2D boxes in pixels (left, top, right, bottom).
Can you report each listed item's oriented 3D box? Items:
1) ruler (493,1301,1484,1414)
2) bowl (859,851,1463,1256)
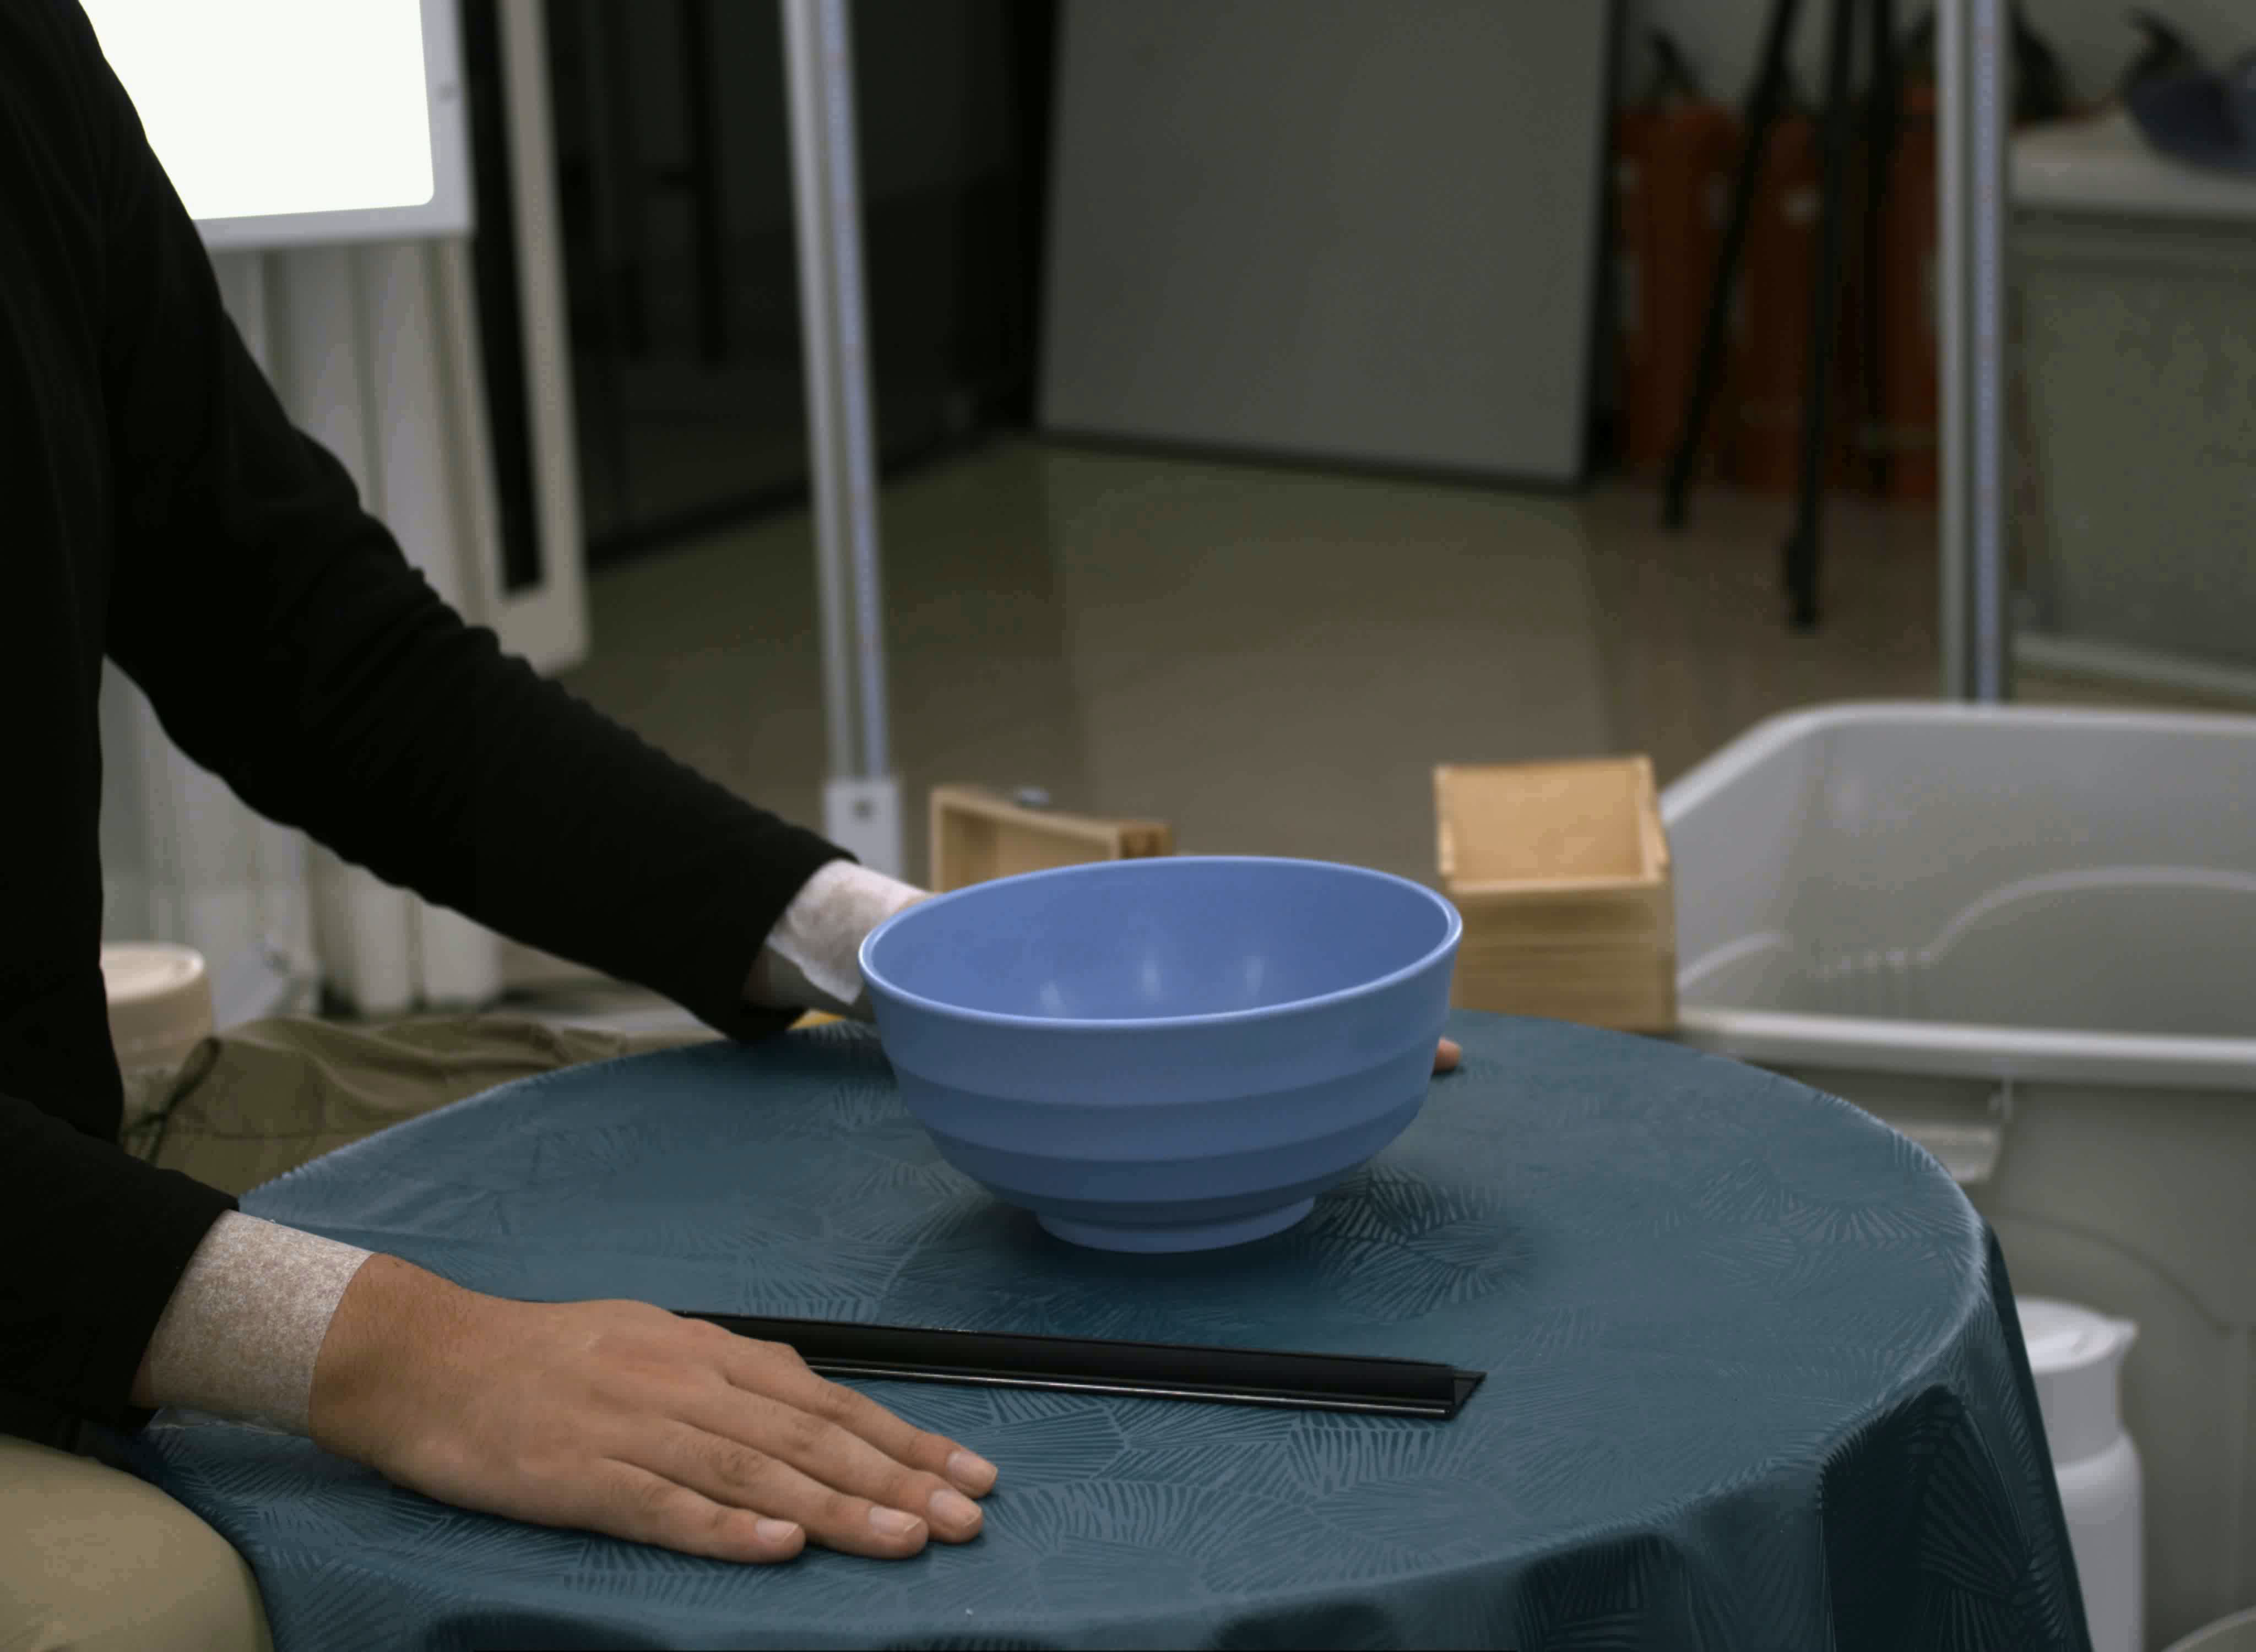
[{"bbox_3d":[-0.045,0.154,1.615,0.312,0.017,0.039,1,10,22],"label":"ruler"},{"bbox_3d":[0.013,0.079,1.737,0.194,0.096,0.197,-3,14,0],"label":"bowl"}]
